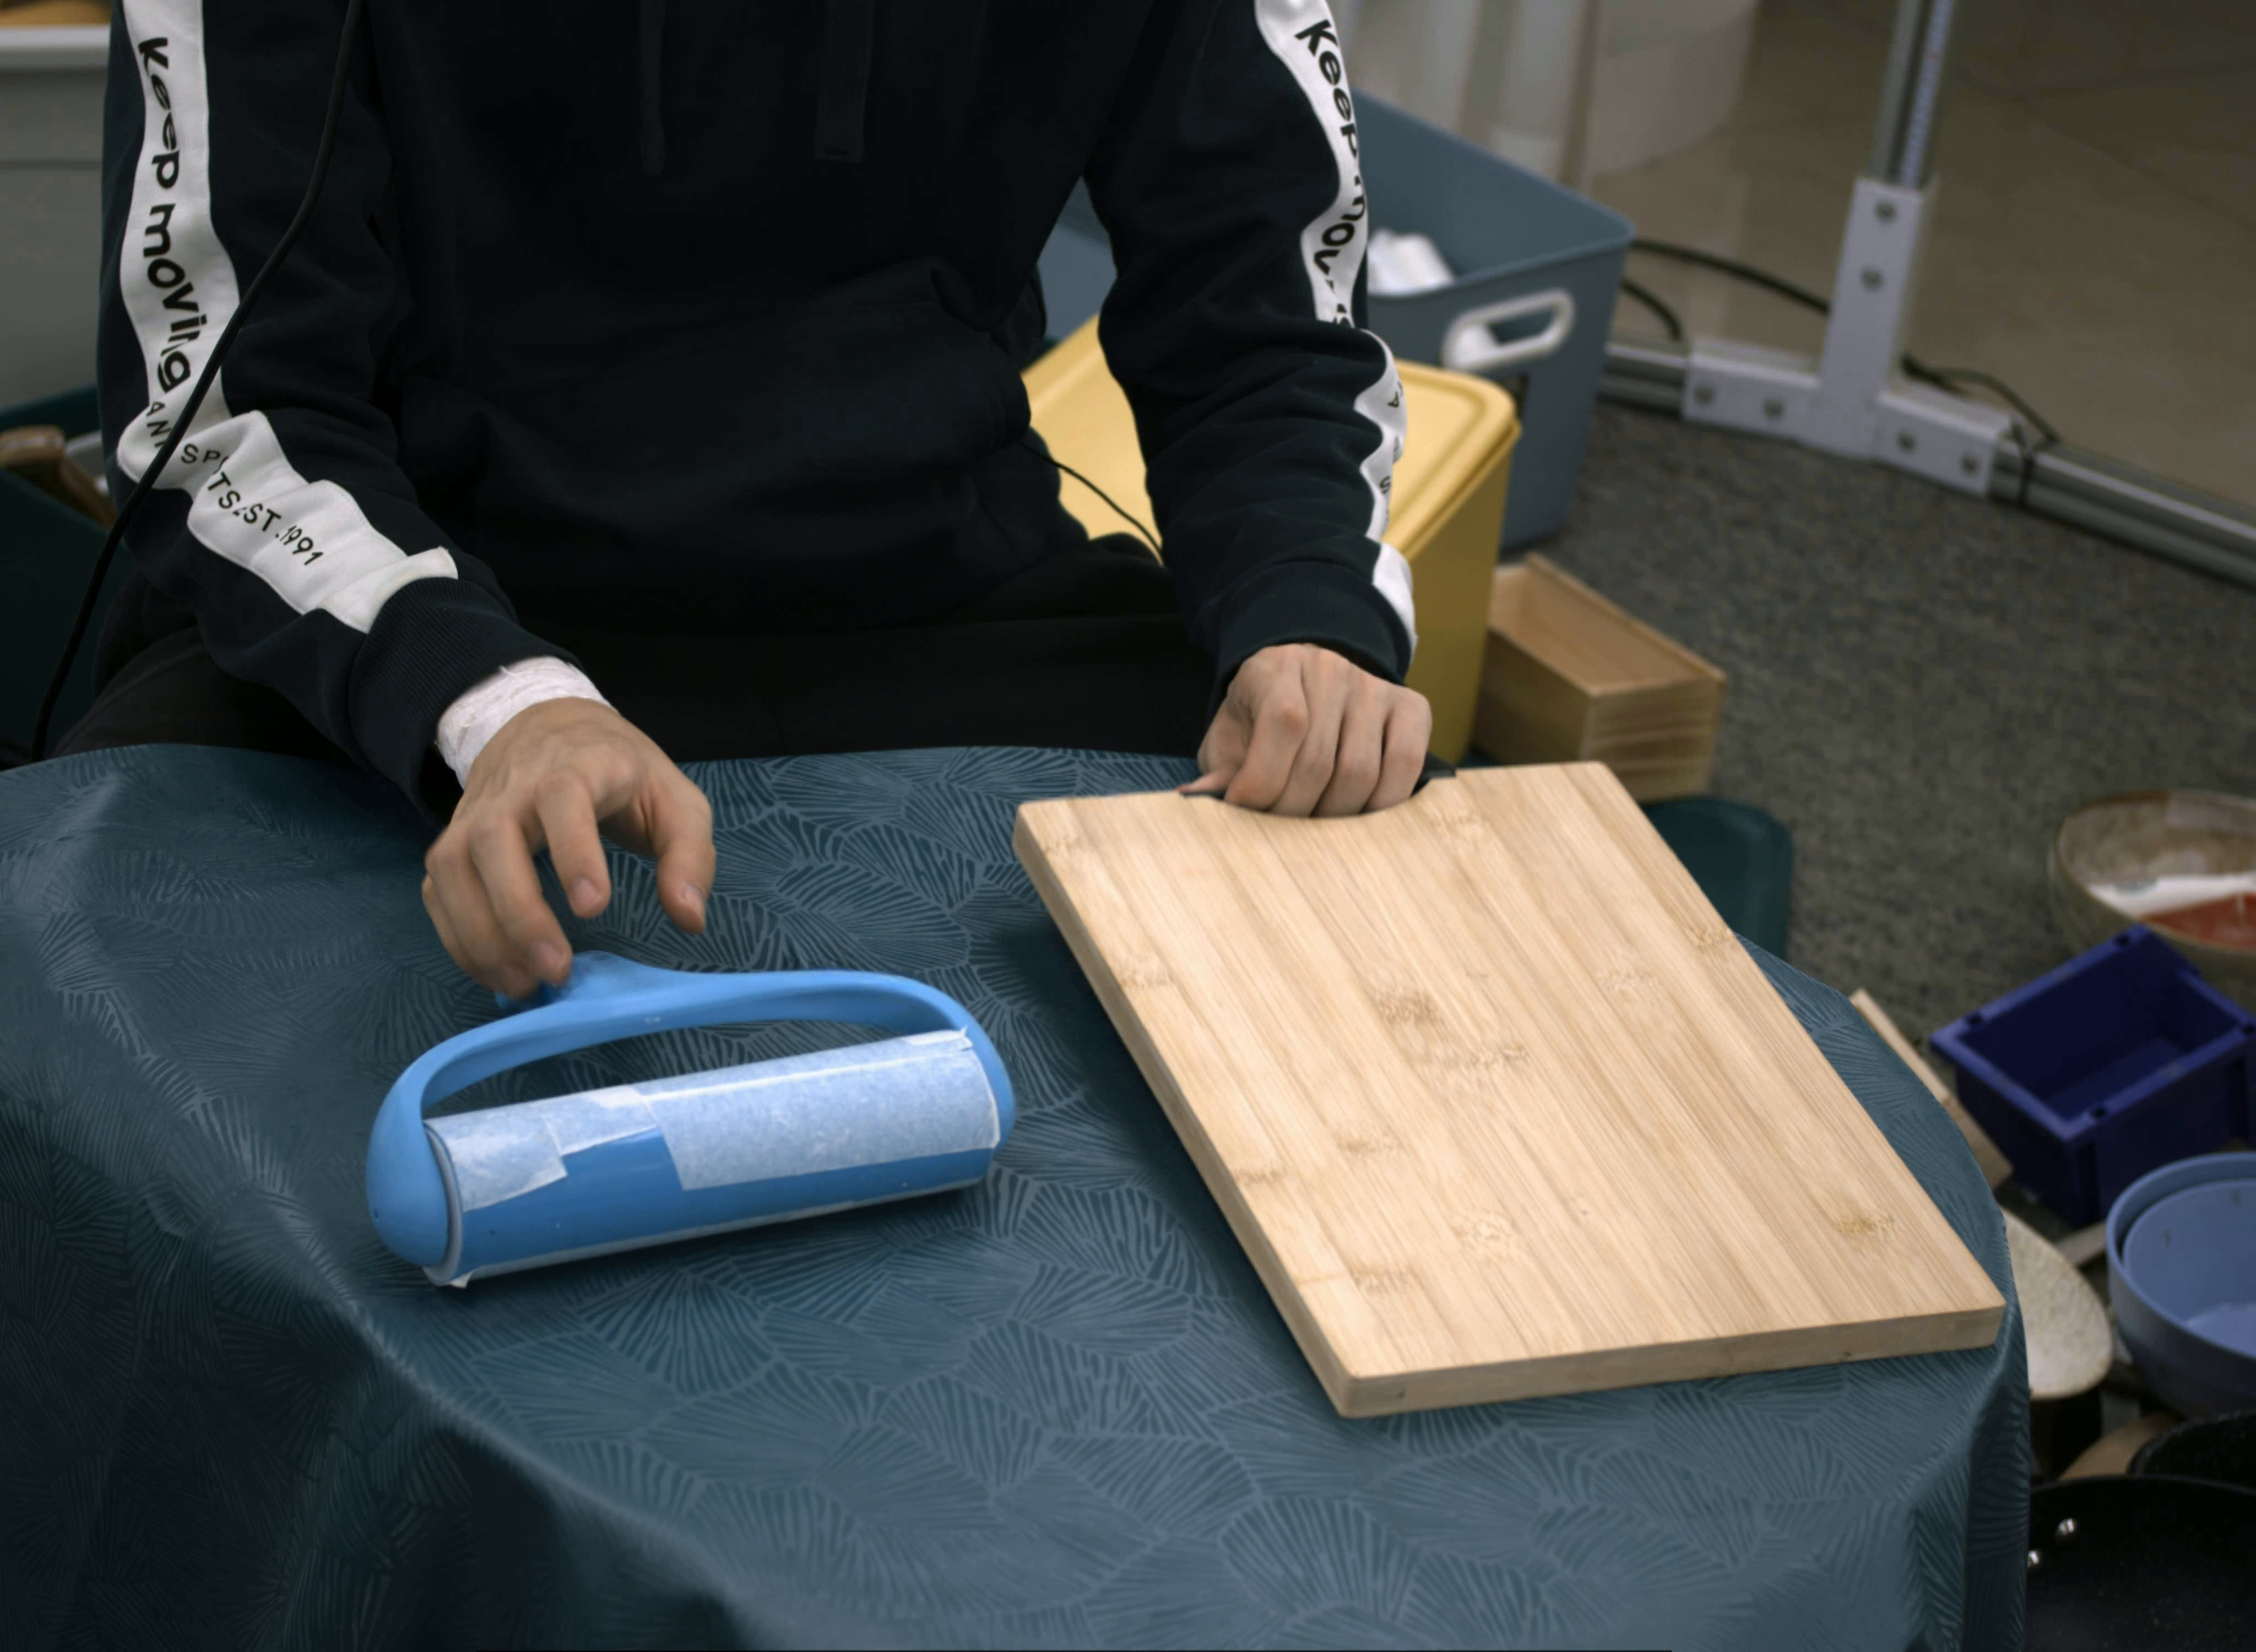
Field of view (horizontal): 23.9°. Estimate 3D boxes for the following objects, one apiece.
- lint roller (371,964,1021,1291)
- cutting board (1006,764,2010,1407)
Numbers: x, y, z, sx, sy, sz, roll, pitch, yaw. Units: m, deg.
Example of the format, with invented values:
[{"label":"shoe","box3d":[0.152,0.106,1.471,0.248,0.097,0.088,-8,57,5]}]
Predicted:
[{"label":"lint roller","box3d":[-0.169,0.081,1.783,0.227,0.067,0.182,-12,32,-29]},{"label":"cutting board","box3d":[0.123,0.083,1.859,0.249,0.023,0.352,-4,33,-21]}]
